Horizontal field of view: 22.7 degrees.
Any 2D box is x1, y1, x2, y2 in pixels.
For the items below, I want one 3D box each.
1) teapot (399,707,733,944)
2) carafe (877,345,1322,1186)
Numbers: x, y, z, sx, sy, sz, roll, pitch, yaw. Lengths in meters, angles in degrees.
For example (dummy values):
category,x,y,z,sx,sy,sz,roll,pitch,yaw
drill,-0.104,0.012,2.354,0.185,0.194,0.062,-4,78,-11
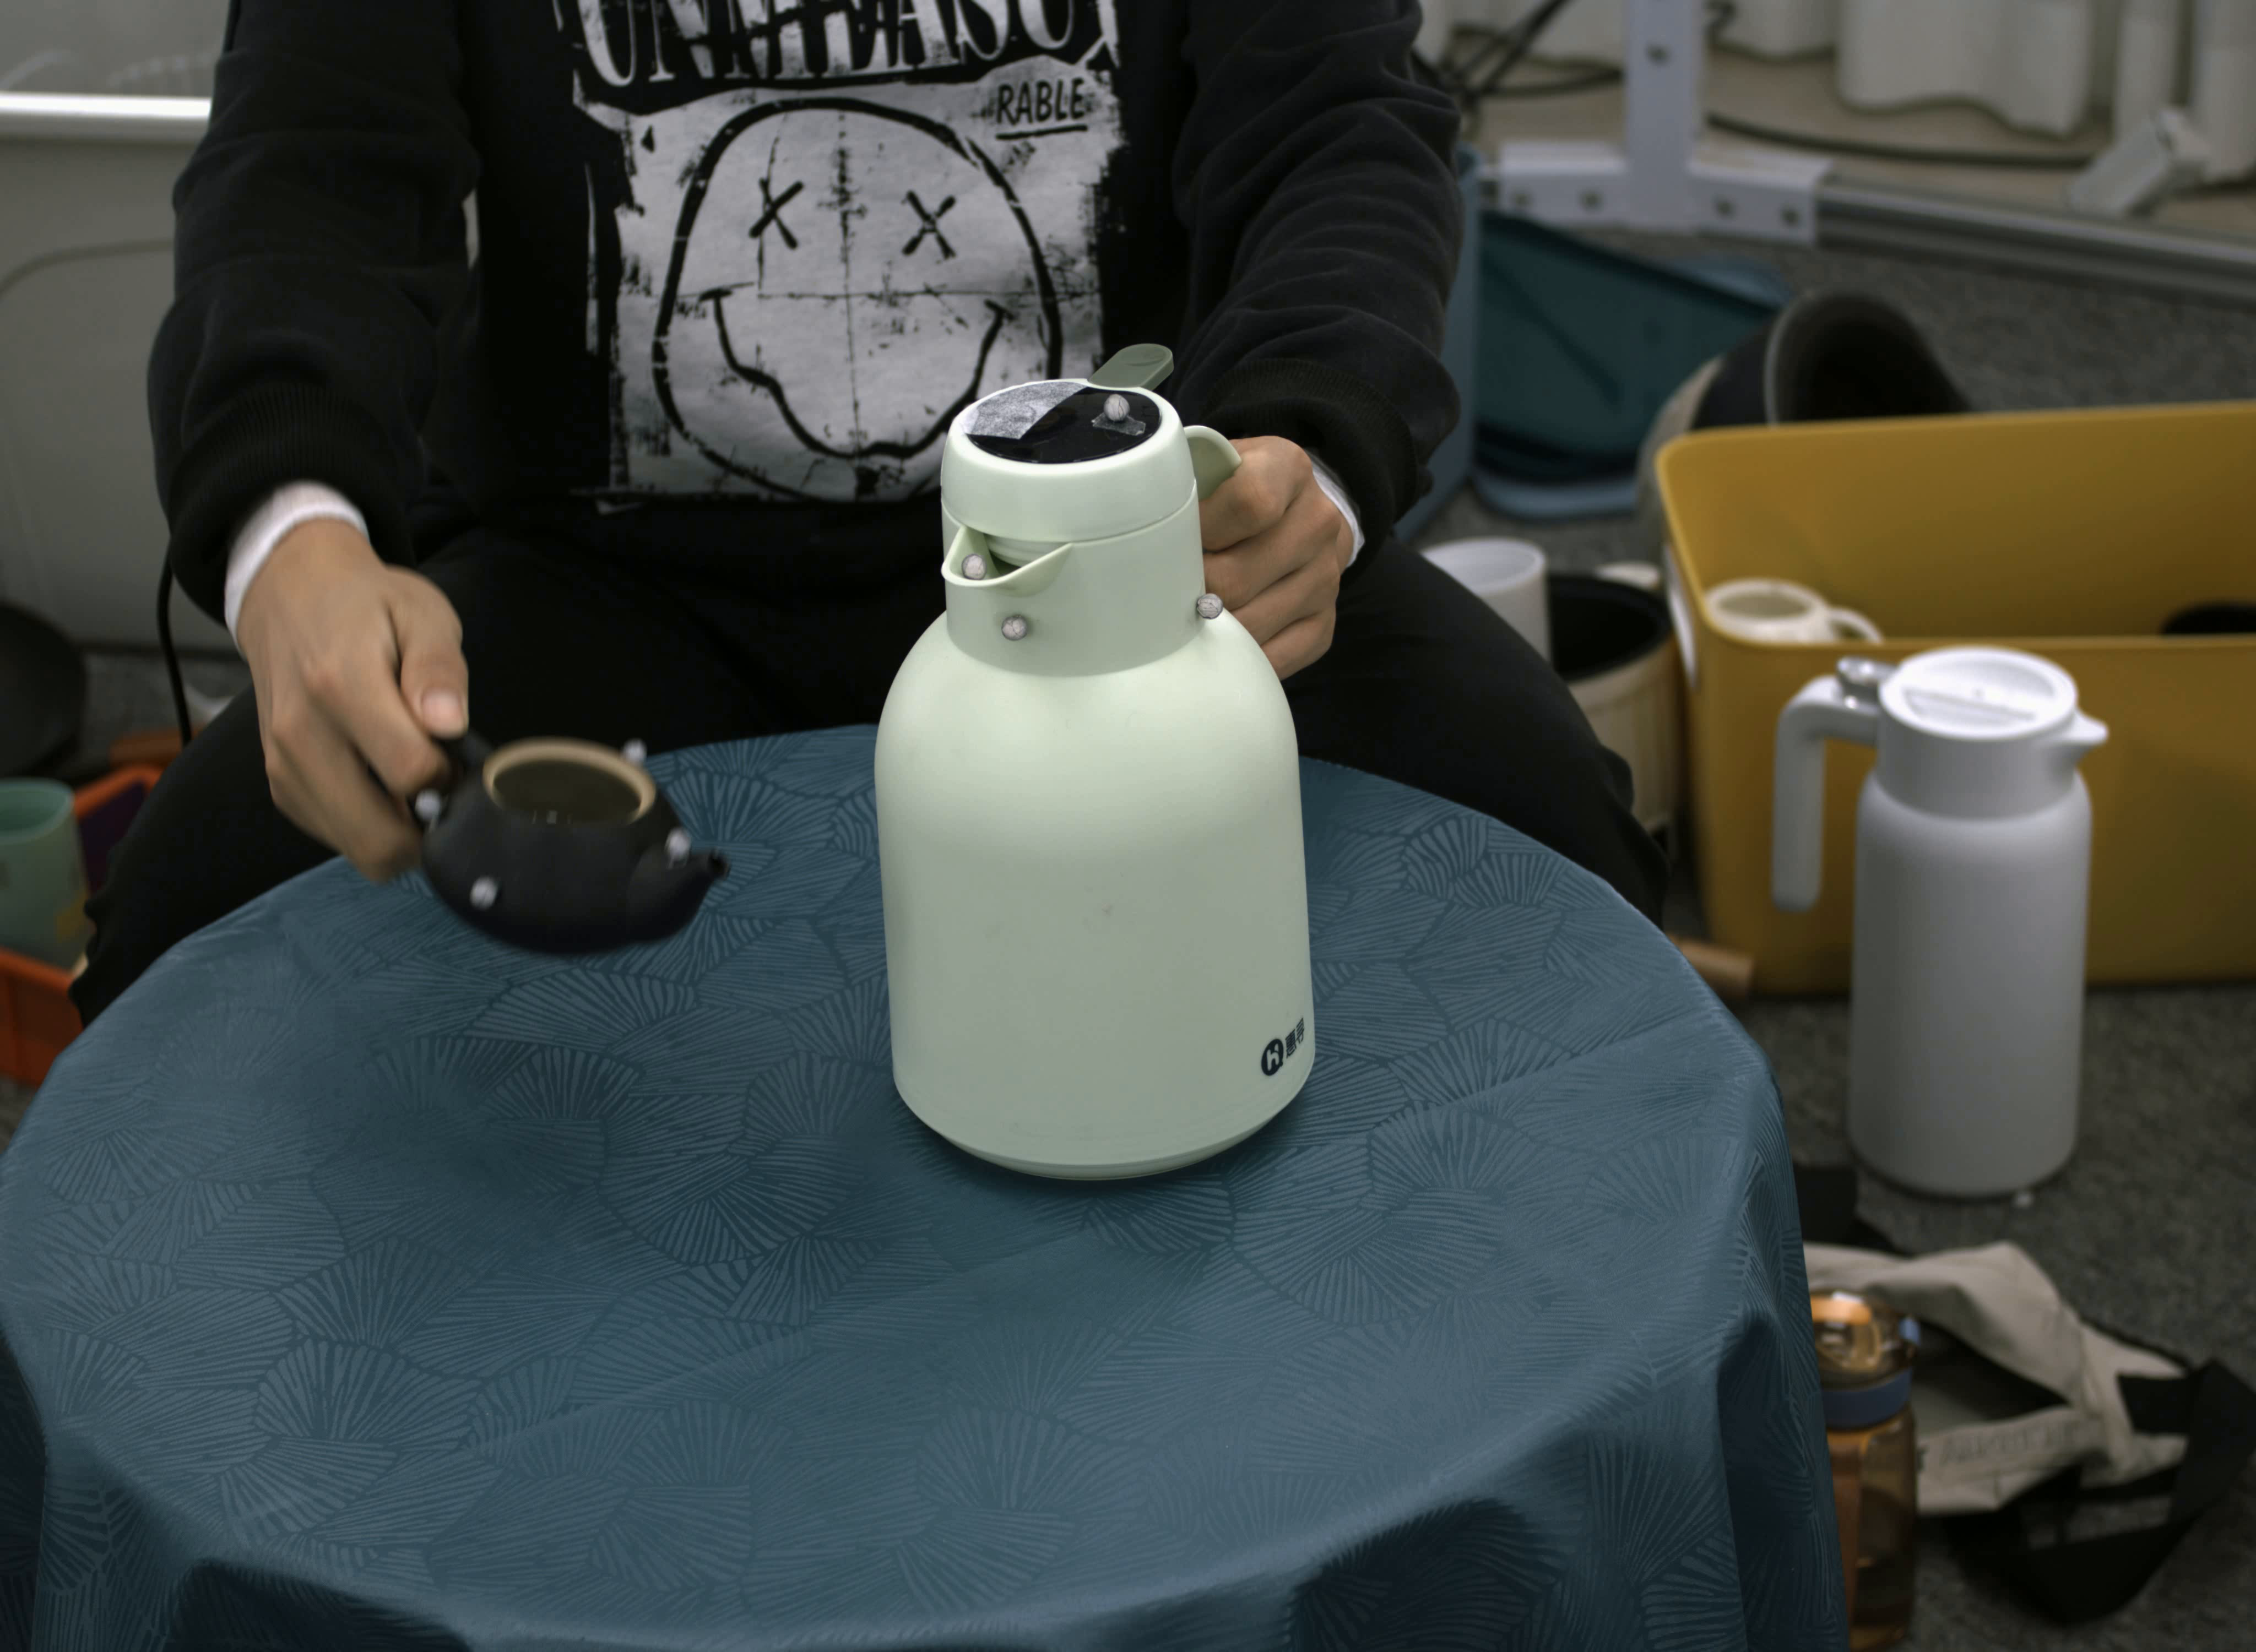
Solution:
category,x,y,z,sx,sy,sz,roll,pitch,yaw
teapot,-0.188,0.004,1.859,0.133,0.052,0.092,25,28,23
carafe,-0.007,-0.025,1.876,0.143,0.254,0.189,8,25,25
